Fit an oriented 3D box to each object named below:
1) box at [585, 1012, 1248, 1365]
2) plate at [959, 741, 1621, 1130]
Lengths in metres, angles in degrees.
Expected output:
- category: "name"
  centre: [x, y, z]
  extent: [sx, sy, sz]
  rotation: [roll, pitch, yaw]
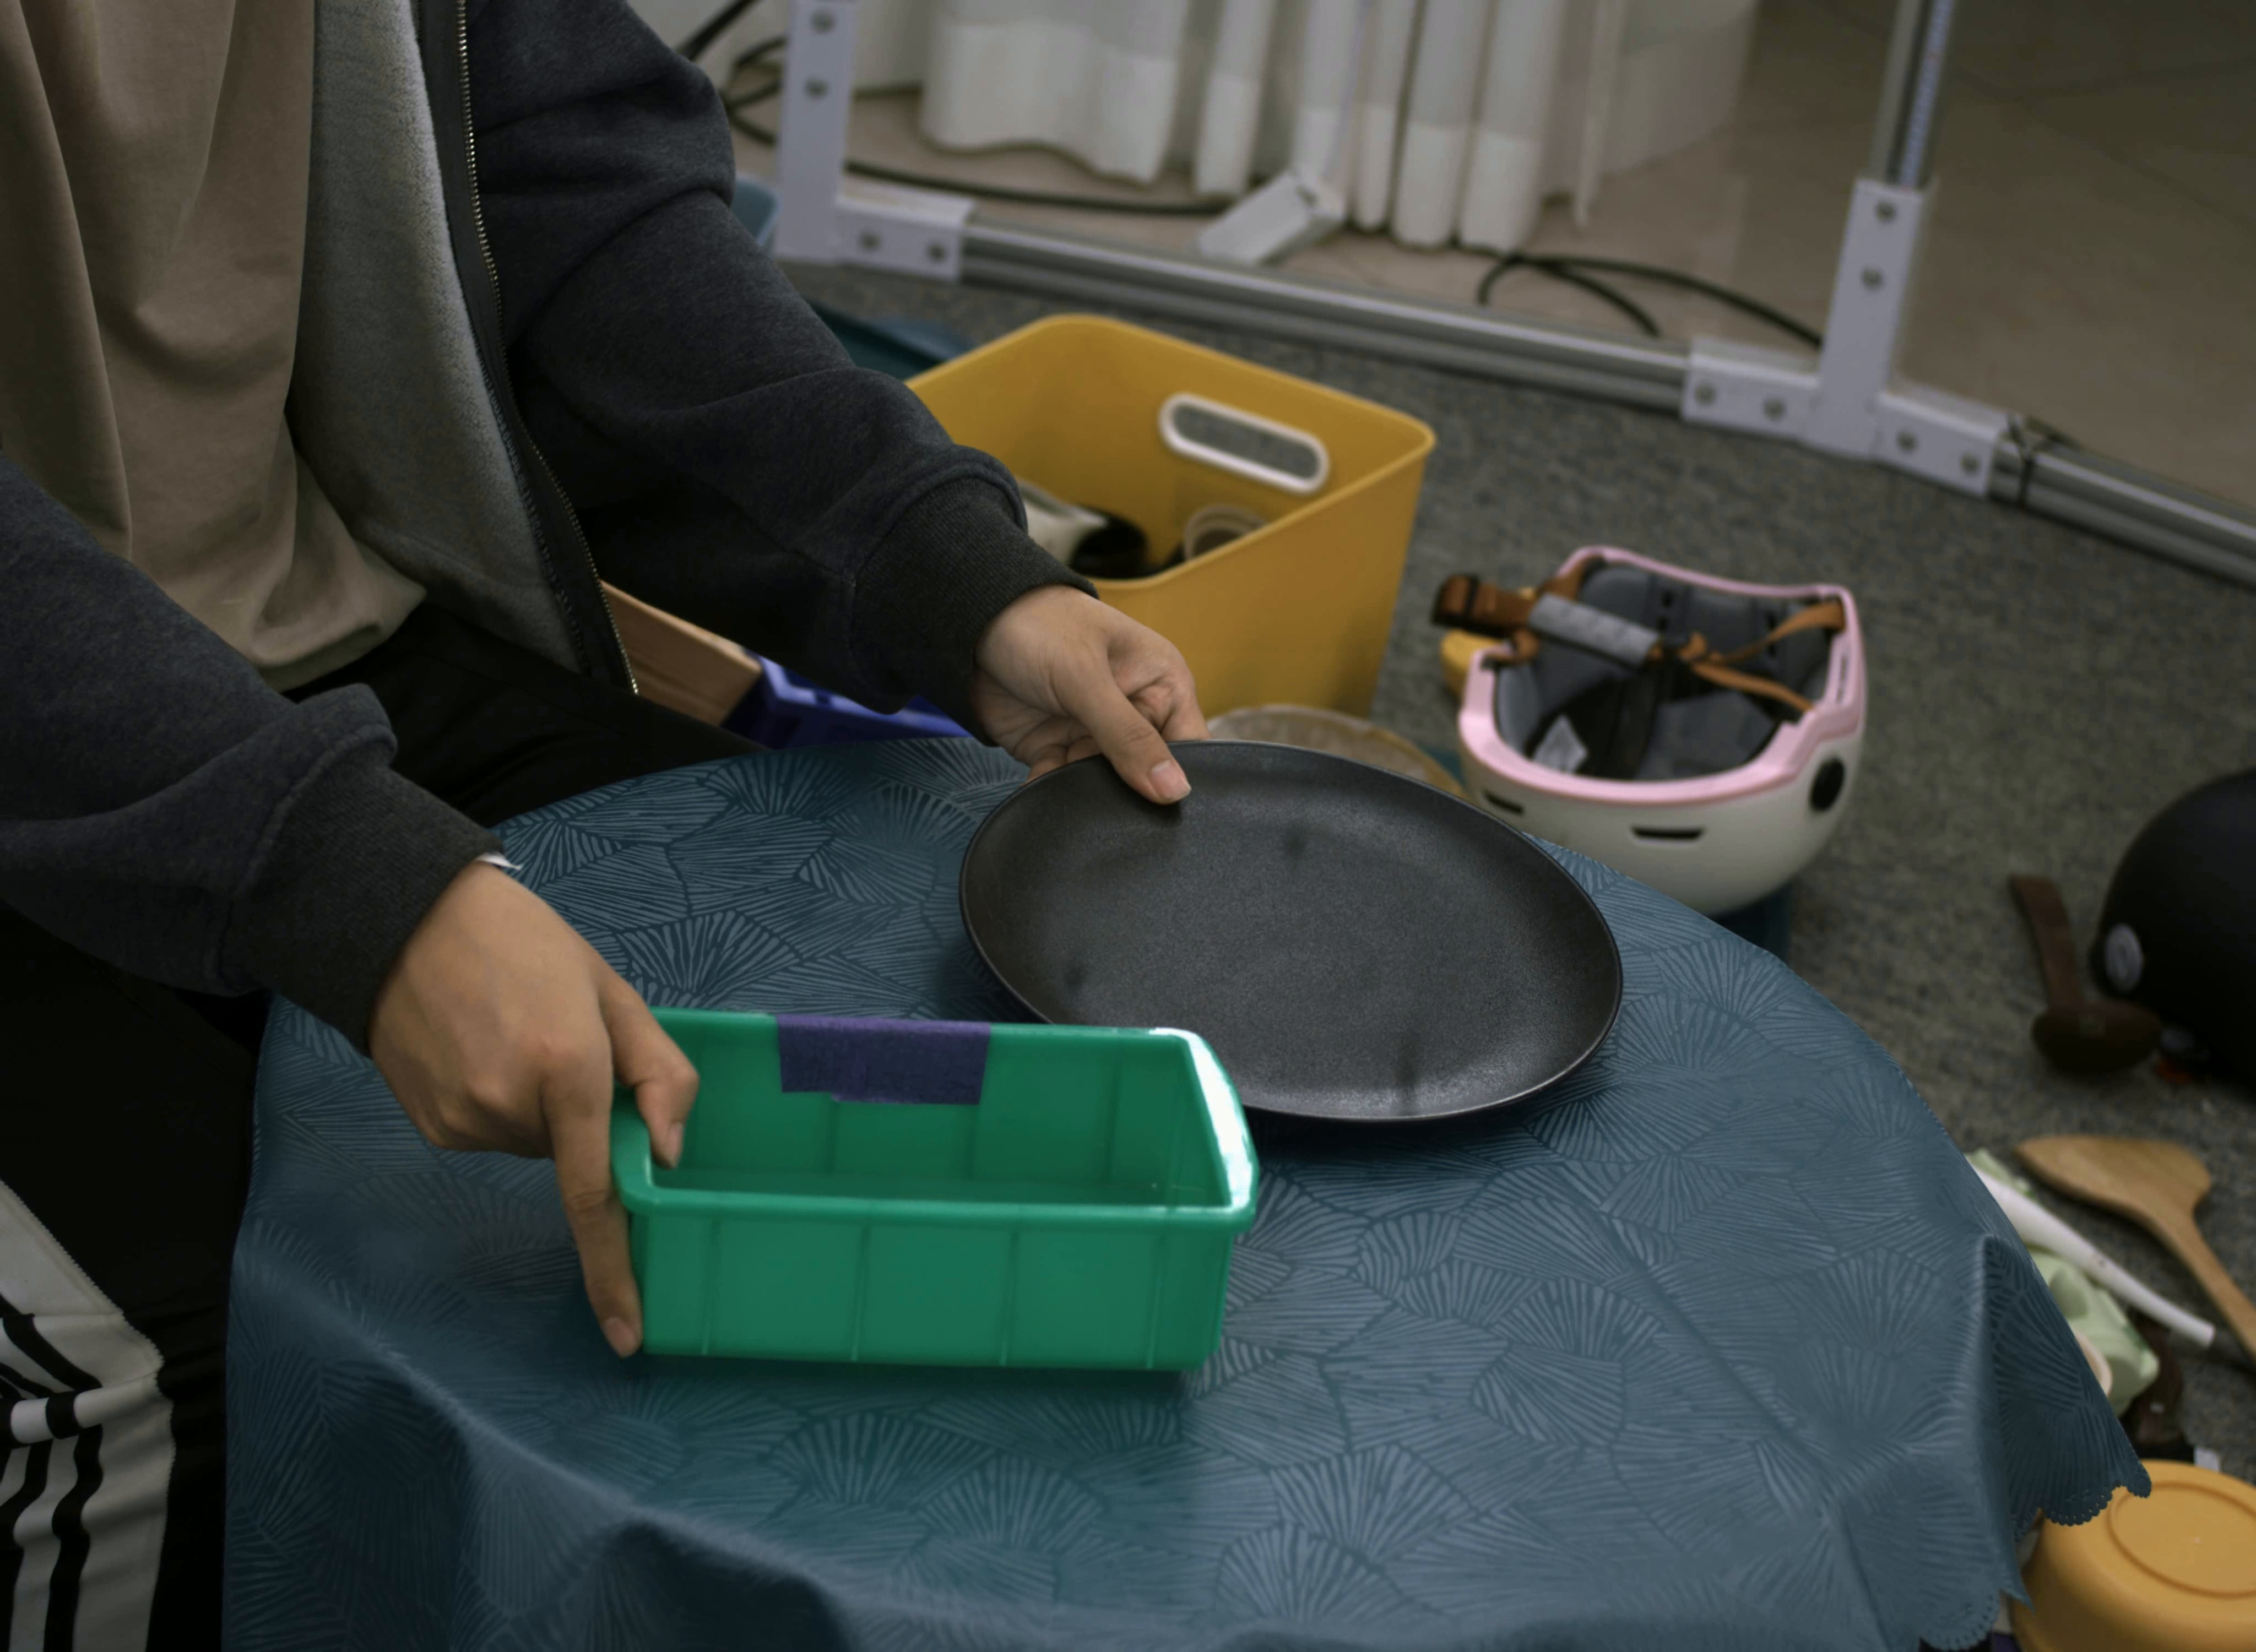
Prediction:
- category: "box"
  centre: [-0.070, 0.118, 1.714]
  extent: [0.209, 0.065, 0.139]
  rotation: [1, 22, -8]
- category: "plate"
  centre: [0.057, 0.043, 1.927]
  extent: [0.243, 0.023, 0.246]
  rotation: [7, 32, -5]
